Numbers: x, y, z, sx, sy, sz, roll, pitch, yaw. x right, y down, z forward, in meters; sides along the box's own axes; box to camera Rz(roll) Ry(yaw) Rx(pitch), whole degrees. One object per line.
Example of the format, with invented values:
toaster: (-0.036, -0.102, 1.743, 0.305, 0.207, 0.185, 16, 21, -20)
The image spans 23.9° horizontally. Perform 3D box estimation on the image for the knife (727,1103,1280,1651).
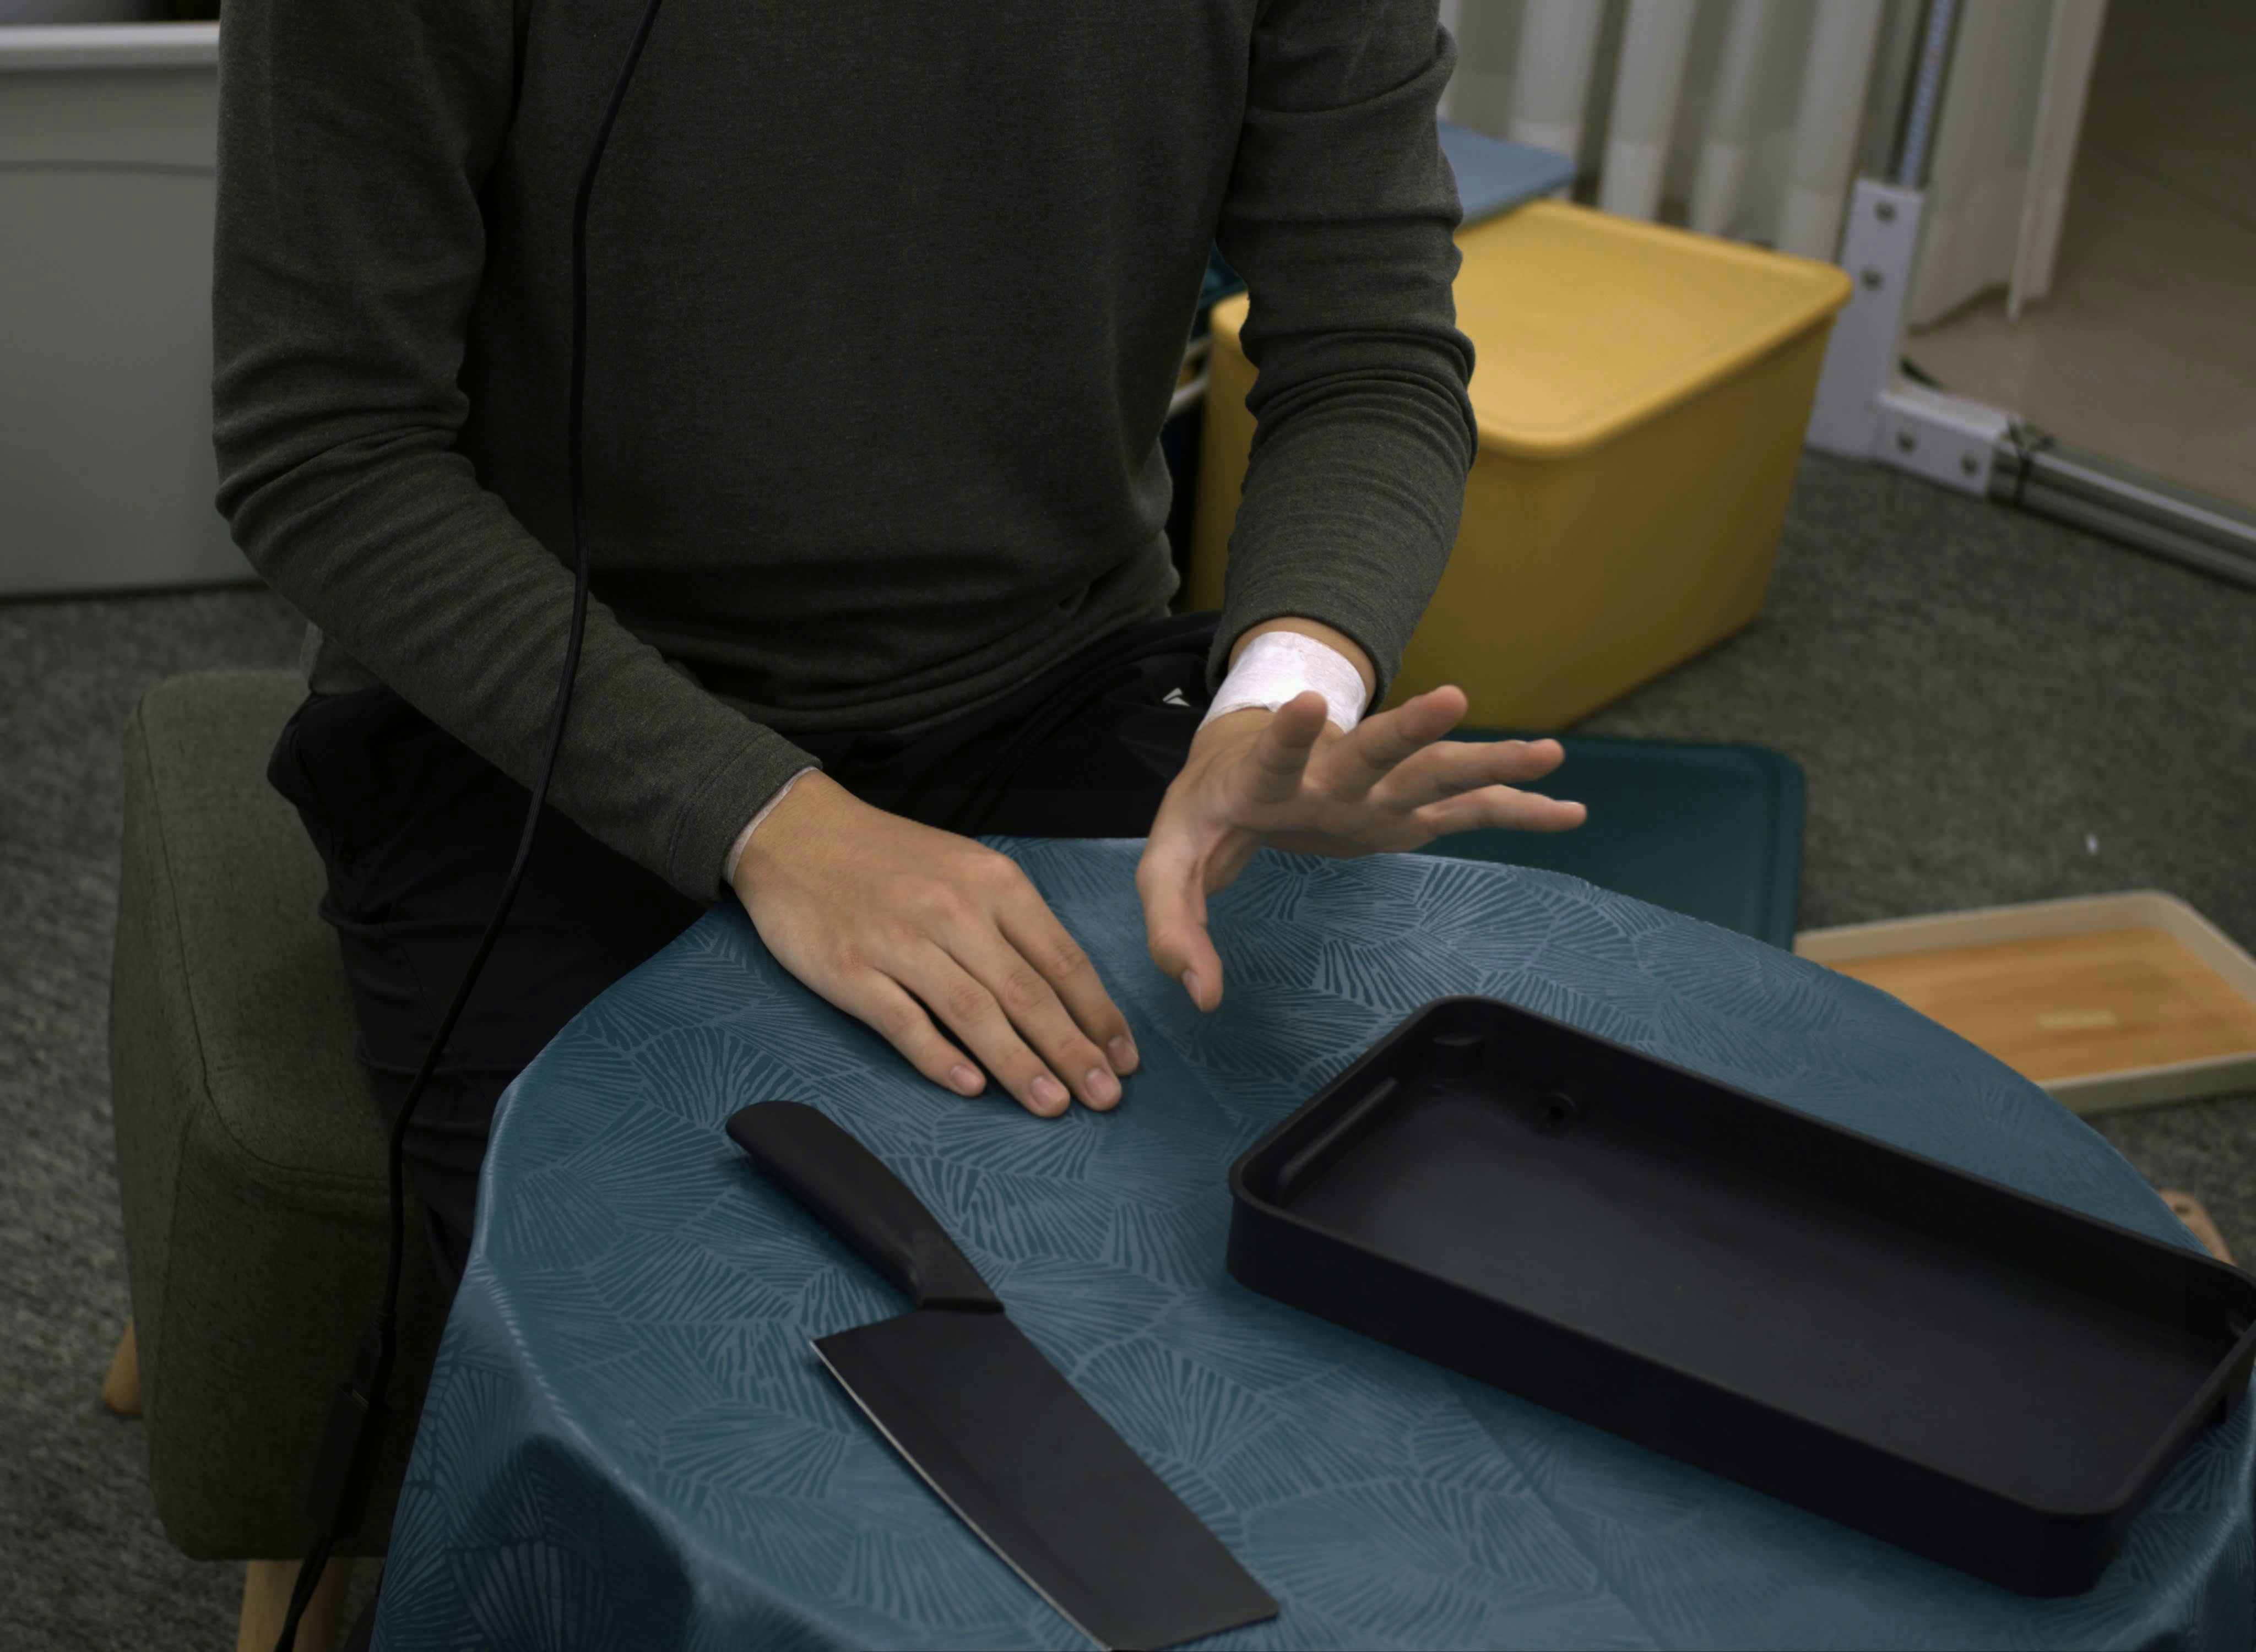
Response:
knife: (-0.055, 0.171, 1.685, 0.080, 0.021, 0.305, -9, 32, -26)

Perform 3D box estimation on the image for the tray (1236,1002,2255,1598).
tray: (0.208, 0.151, 1.759, 0.319, 0.037, 0.184, 18, 29, 23)
